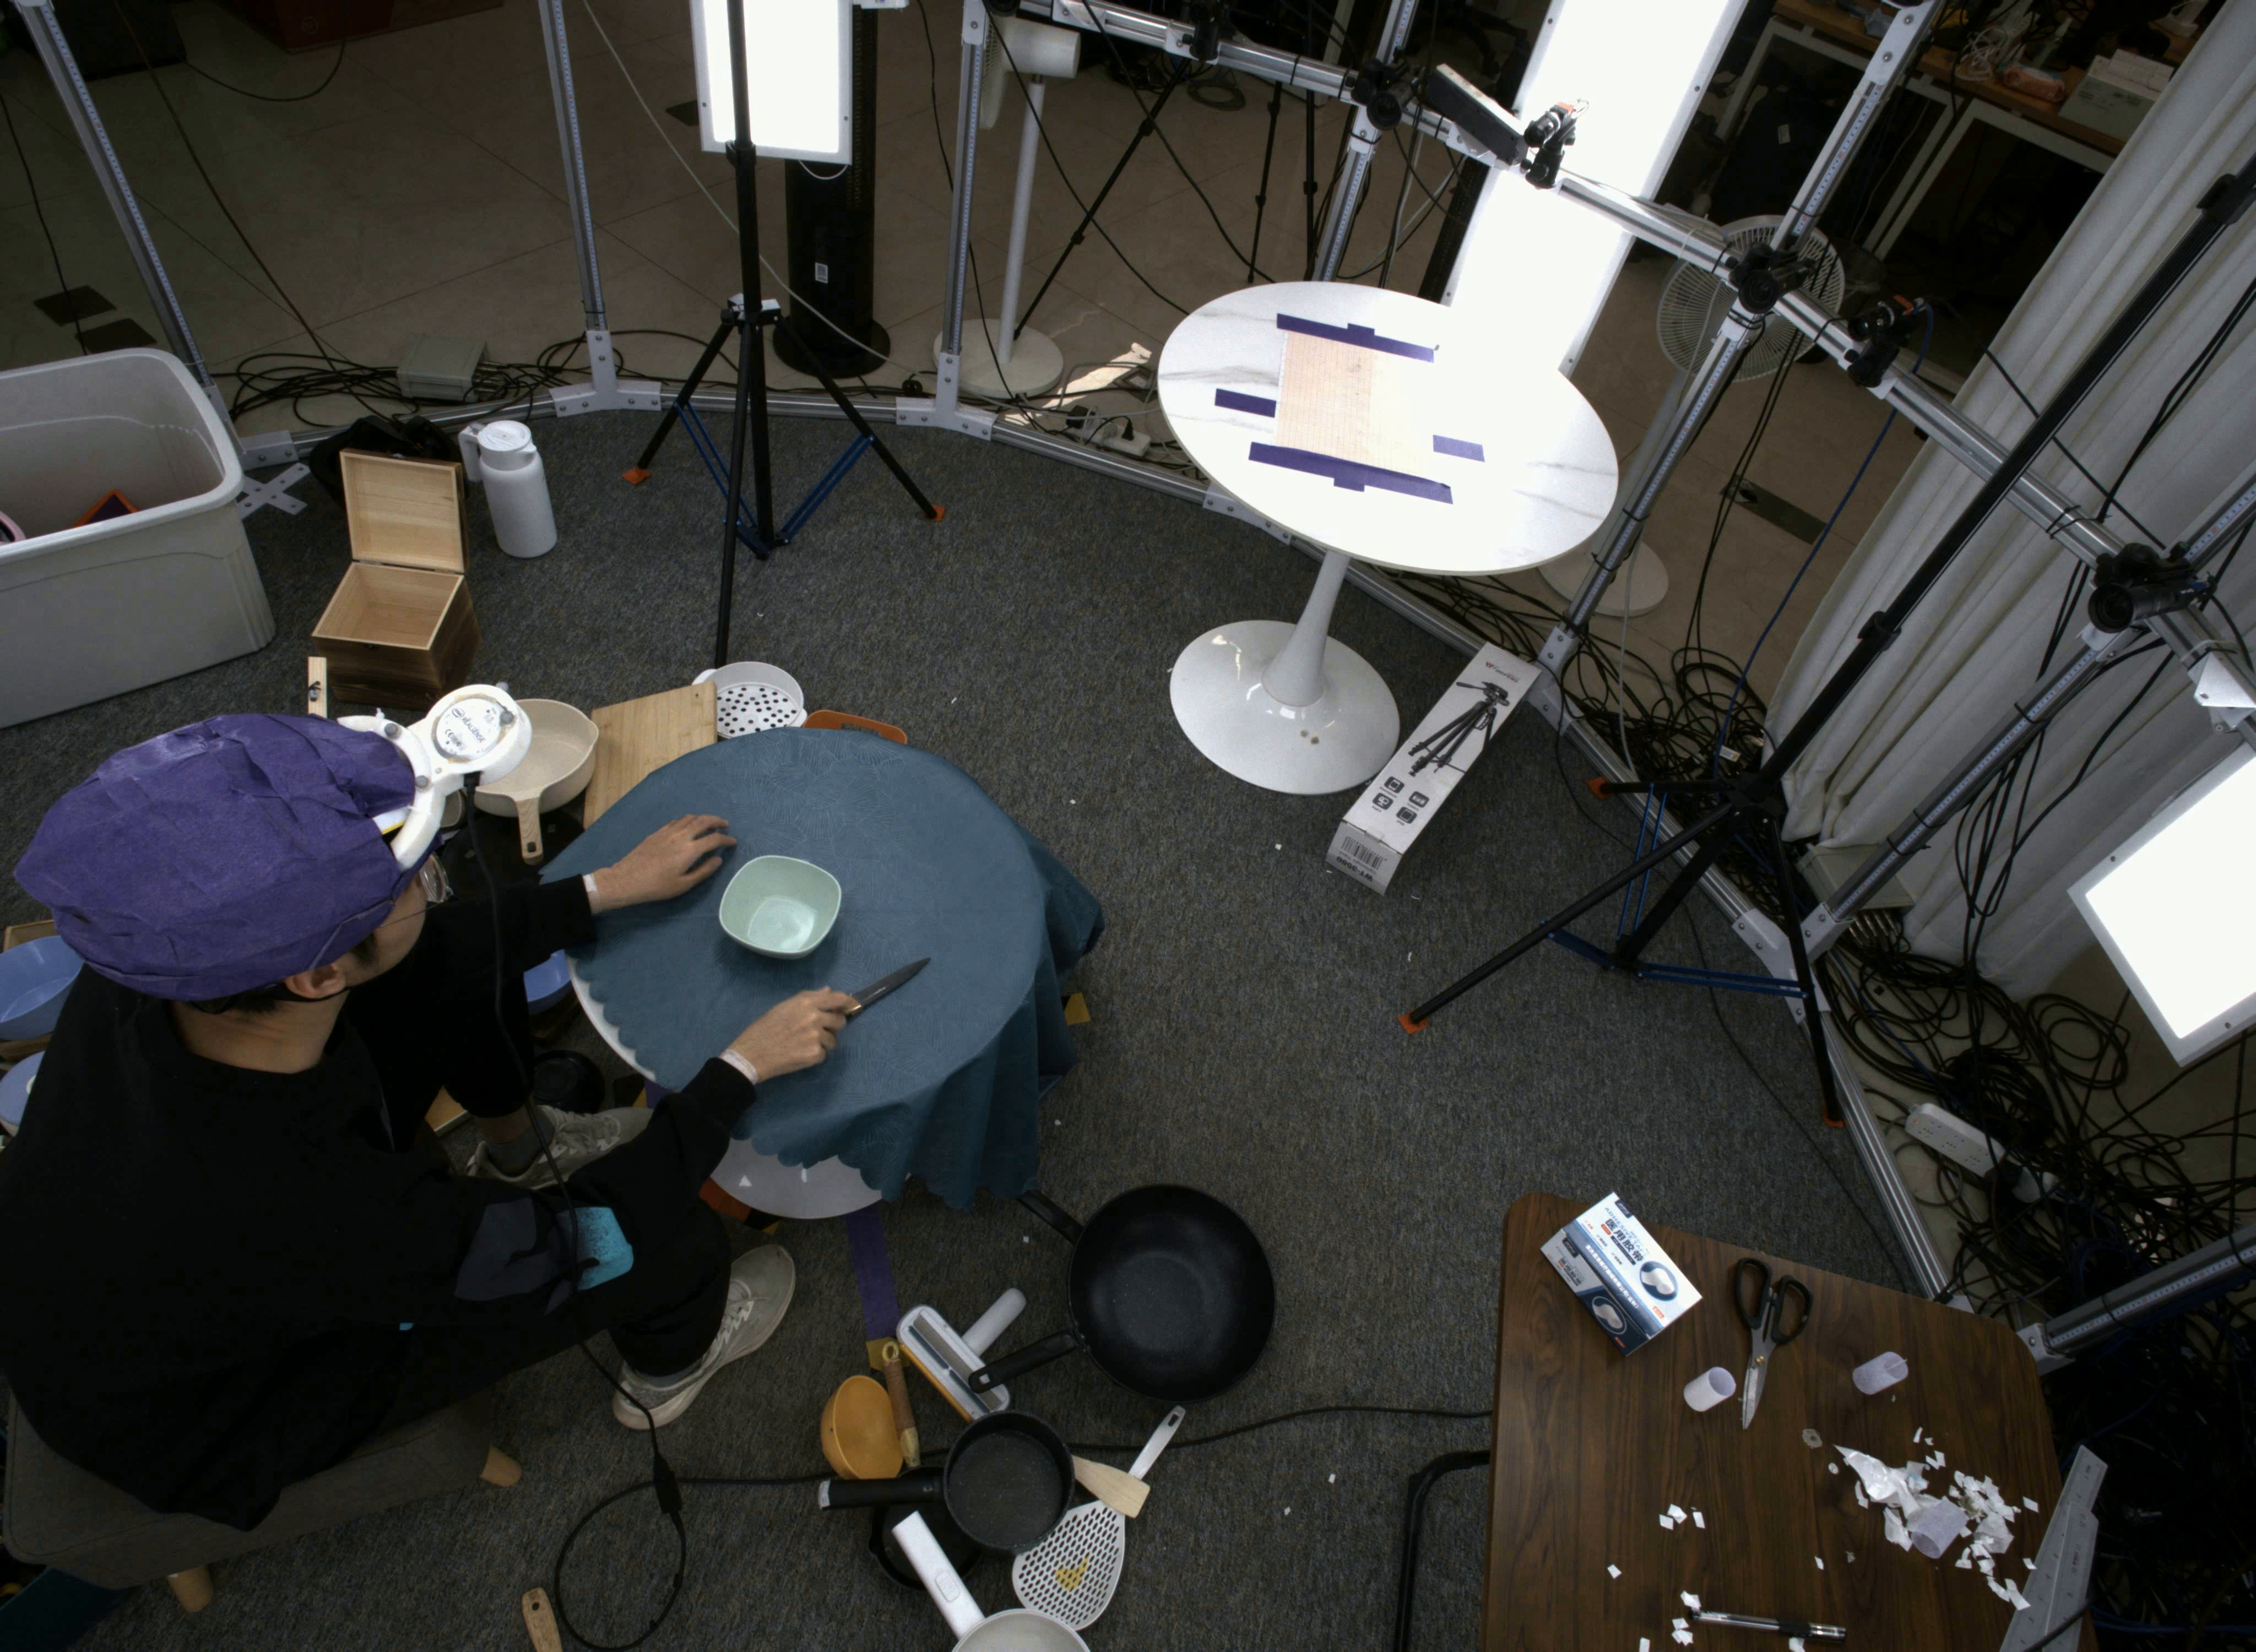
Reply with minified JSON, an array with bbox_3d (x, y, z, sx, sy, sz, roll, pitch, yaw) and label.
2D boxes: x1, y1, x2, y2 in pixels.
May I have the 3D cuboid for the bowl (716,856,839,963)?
[{"bbox_3d":[-0.429,0.111,1.594,0.151,0.060,0.149,9,52,-10],"label":"bowl"}]

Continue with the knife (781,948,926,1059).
[{"bbox_3d":[-0.327,0.210,1.574,0.026,0.017,0.226,44,54,16],"label":"knife"}]
